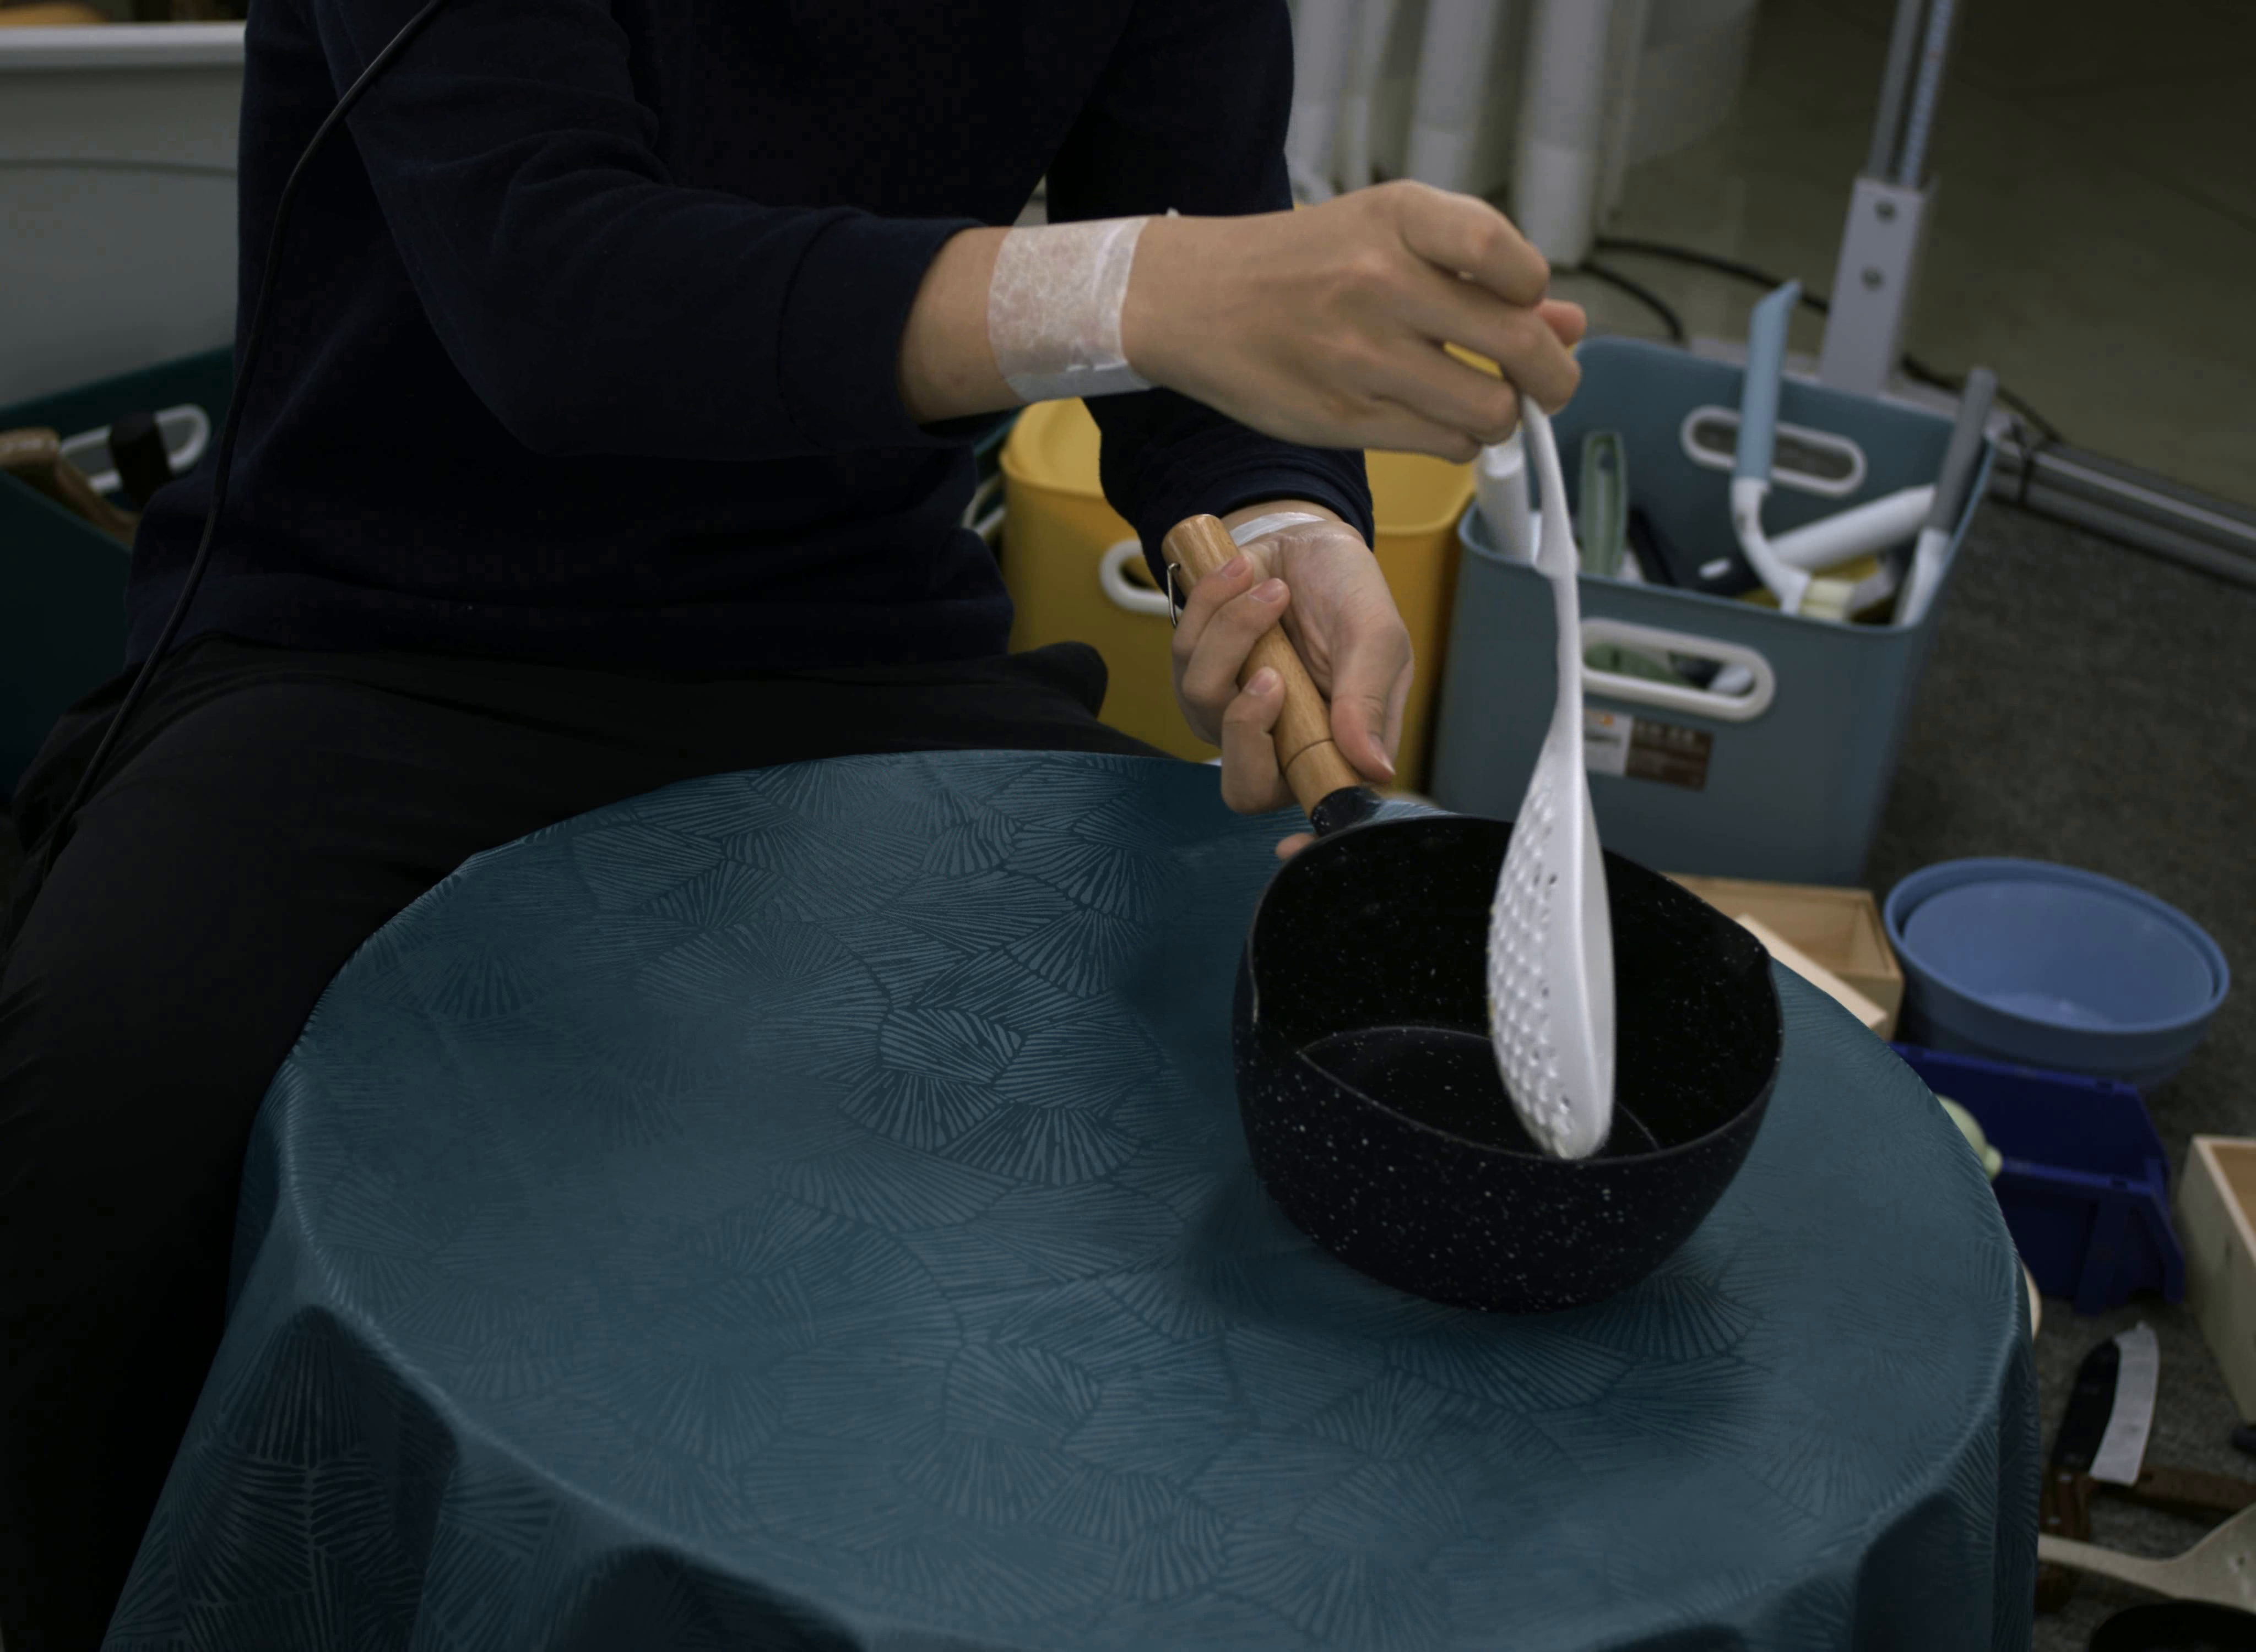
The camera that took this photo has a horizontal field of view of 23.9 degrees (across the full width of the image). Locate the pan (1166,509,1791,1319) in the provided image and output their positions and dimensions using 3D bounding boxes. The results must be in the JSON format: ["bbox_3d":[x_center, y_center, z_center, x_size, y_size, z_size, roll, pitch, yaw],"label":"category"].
[{"bbox_3d":[0.088,0.029,1.837,0.206,0.108,0.346,-10,42,-27],"label":"pan"}]

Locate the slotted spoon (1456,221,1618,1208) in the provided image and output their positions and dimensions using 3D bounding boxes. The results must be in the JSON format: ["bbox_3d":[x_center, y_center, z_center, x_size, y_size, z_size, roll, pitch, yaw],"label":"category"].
[{"bbox_3d":[0.131,-0.035,1.695,0.050,0.346,0.137,1,31,6],"label":"slotted spoon"}]
